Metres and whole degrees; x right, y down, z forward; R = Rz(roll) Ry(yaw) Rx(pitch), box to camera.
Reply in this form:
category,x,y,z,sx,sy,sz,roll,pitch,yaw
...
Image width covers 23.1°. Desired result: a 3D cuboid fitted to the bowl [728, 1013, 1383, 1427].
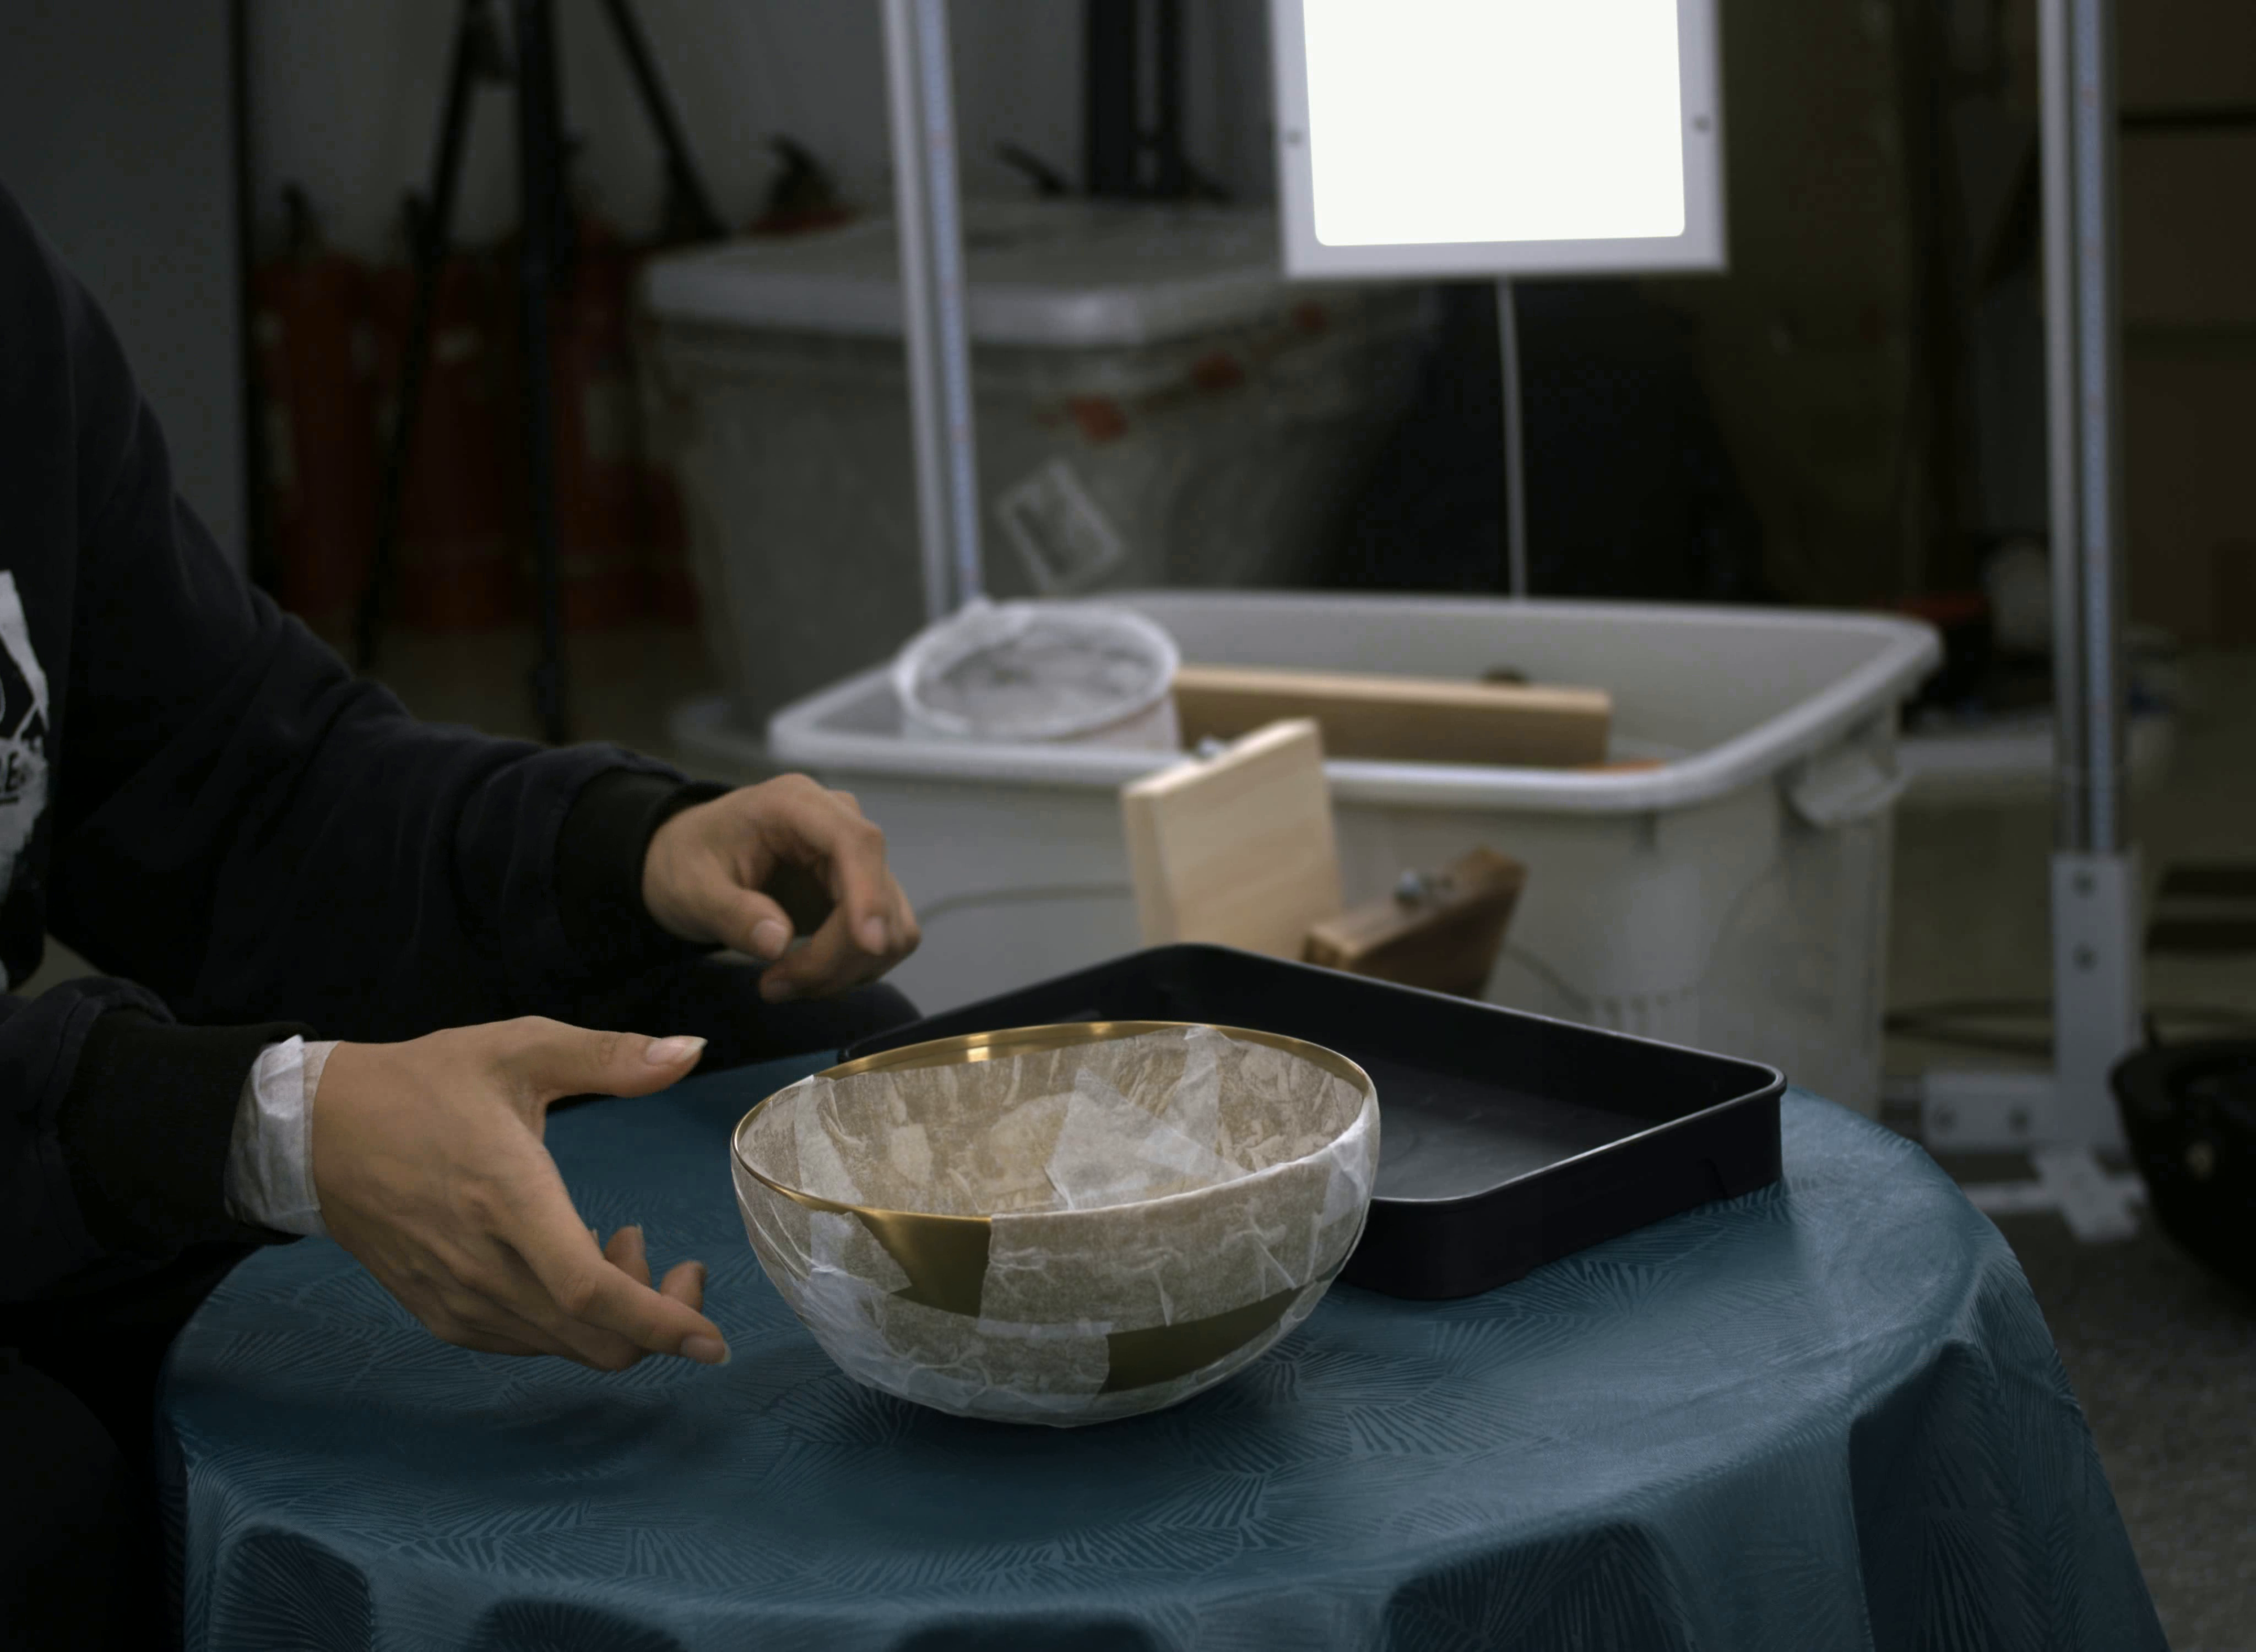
category,x,y,z,sx,sy,sz,roll,pitch,yaw
bowl,-0.020,0.128,1.701,0.214,0.095,0.214,-6,15,0

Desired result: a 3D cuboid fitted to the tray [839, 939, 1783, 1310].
category,x,y,z,sx,sy,sz,roll,pitch,yaw
tray,0.060,0.099,1.916,0.179,0.037,0.324,-16,18,-37
